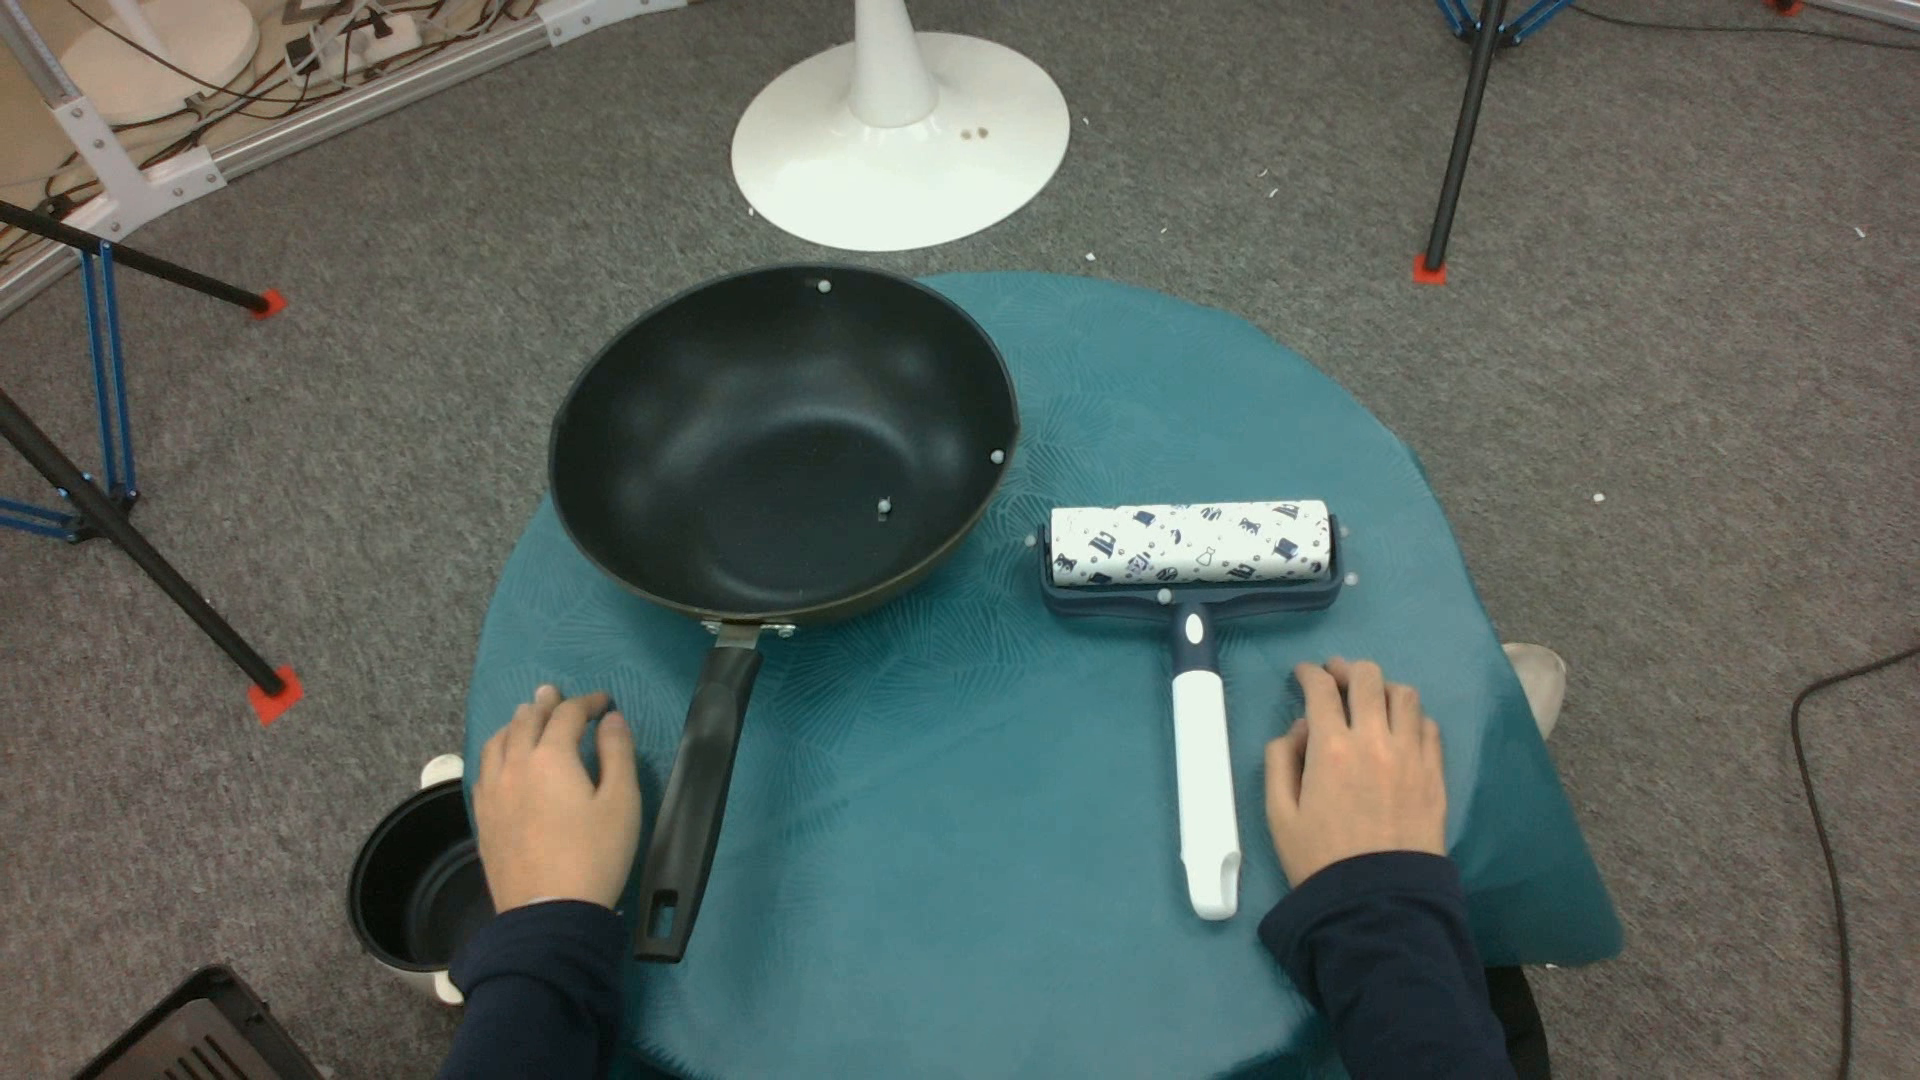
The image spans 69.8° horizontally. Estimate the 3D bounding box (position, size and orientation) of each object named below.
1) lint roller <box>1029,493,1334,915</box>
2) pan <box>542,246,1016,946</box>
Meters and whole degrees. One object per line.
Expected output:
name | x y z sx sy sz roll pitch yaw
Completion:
lint roller | 0.128 0.080 0.760 0.176 0.050 0.248 -1 57 3
pan | -0.117 0.019 0.801 0.288 0.086 0.465 3 55 7
